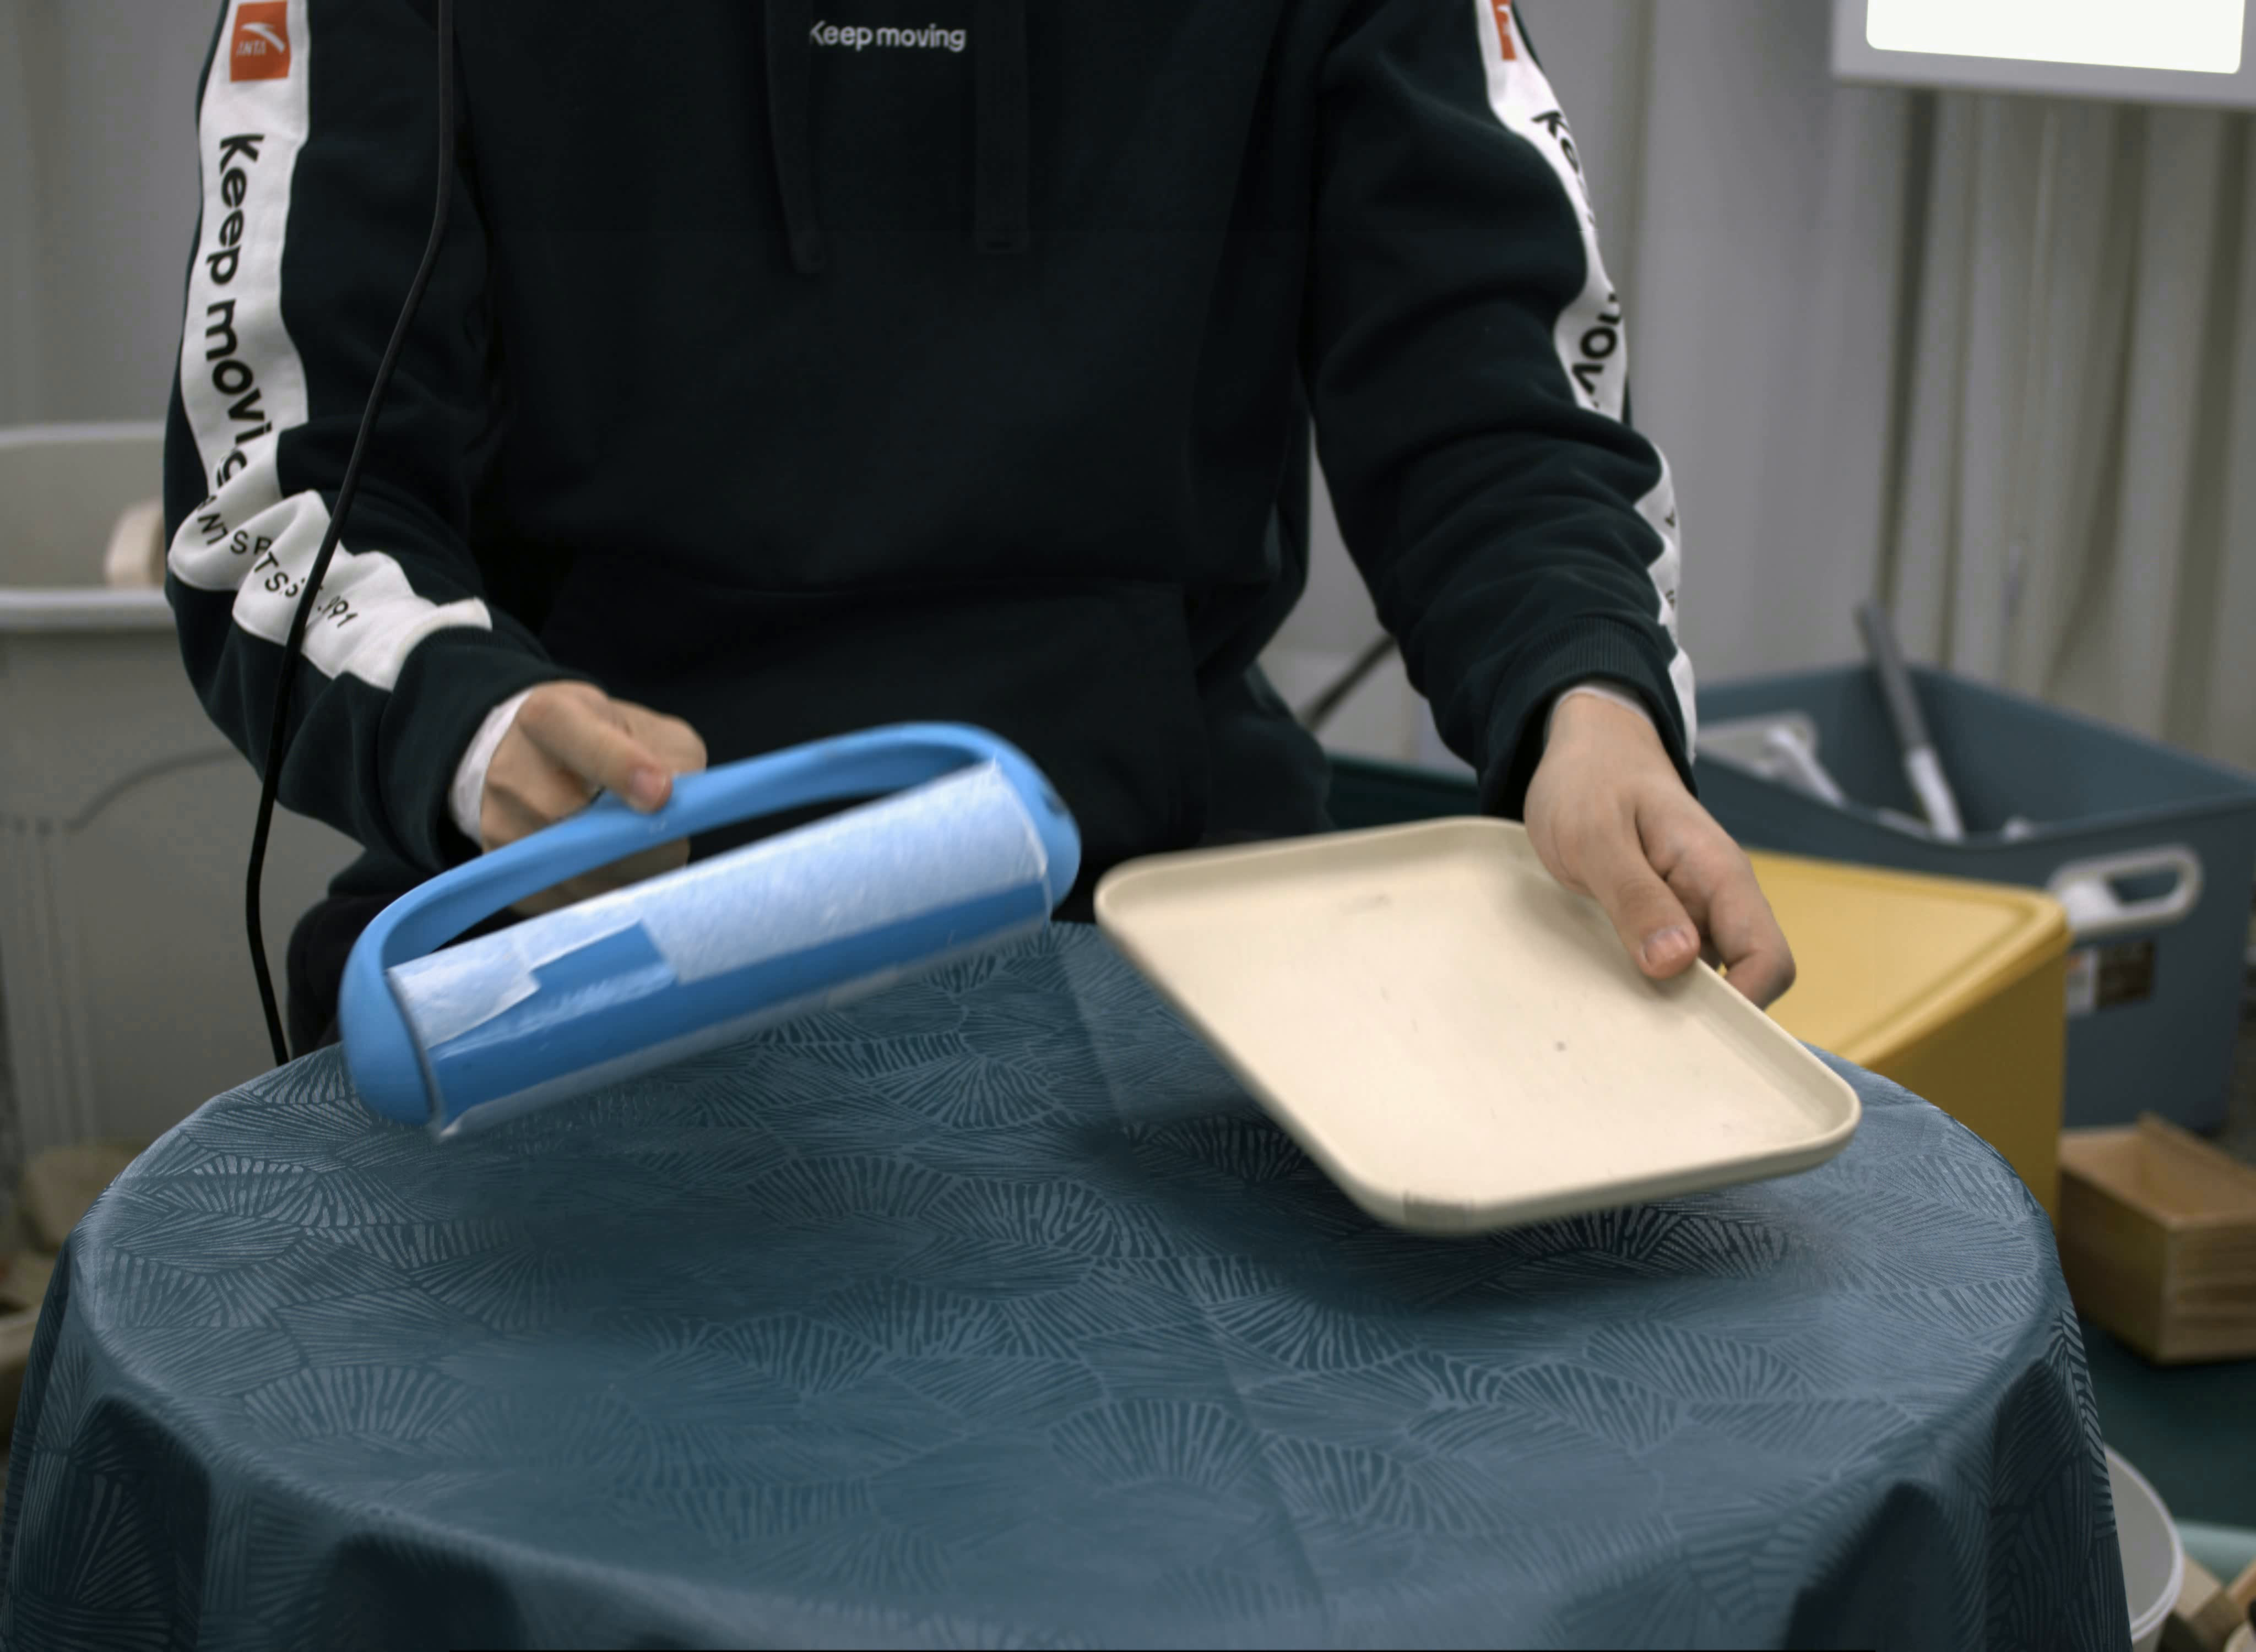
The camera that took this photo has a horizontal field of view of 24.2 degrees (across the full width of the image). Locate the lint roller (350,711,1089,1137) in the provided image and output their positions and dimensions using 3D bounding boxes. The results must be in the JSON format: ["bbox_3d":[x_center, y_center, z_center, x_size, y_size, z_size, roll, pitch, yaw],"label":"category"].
[{"bbox_3d":[-0.141,0.016,1.596,0.229,0.068,0.178,-22,24,-18],"label":"lint roller"}]

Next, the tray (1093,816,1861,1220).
[{"bbox_3d":[0.103,0.057,1.622,0.172,0.017,0.236,-5,27,-24],"label":"tray"}]
